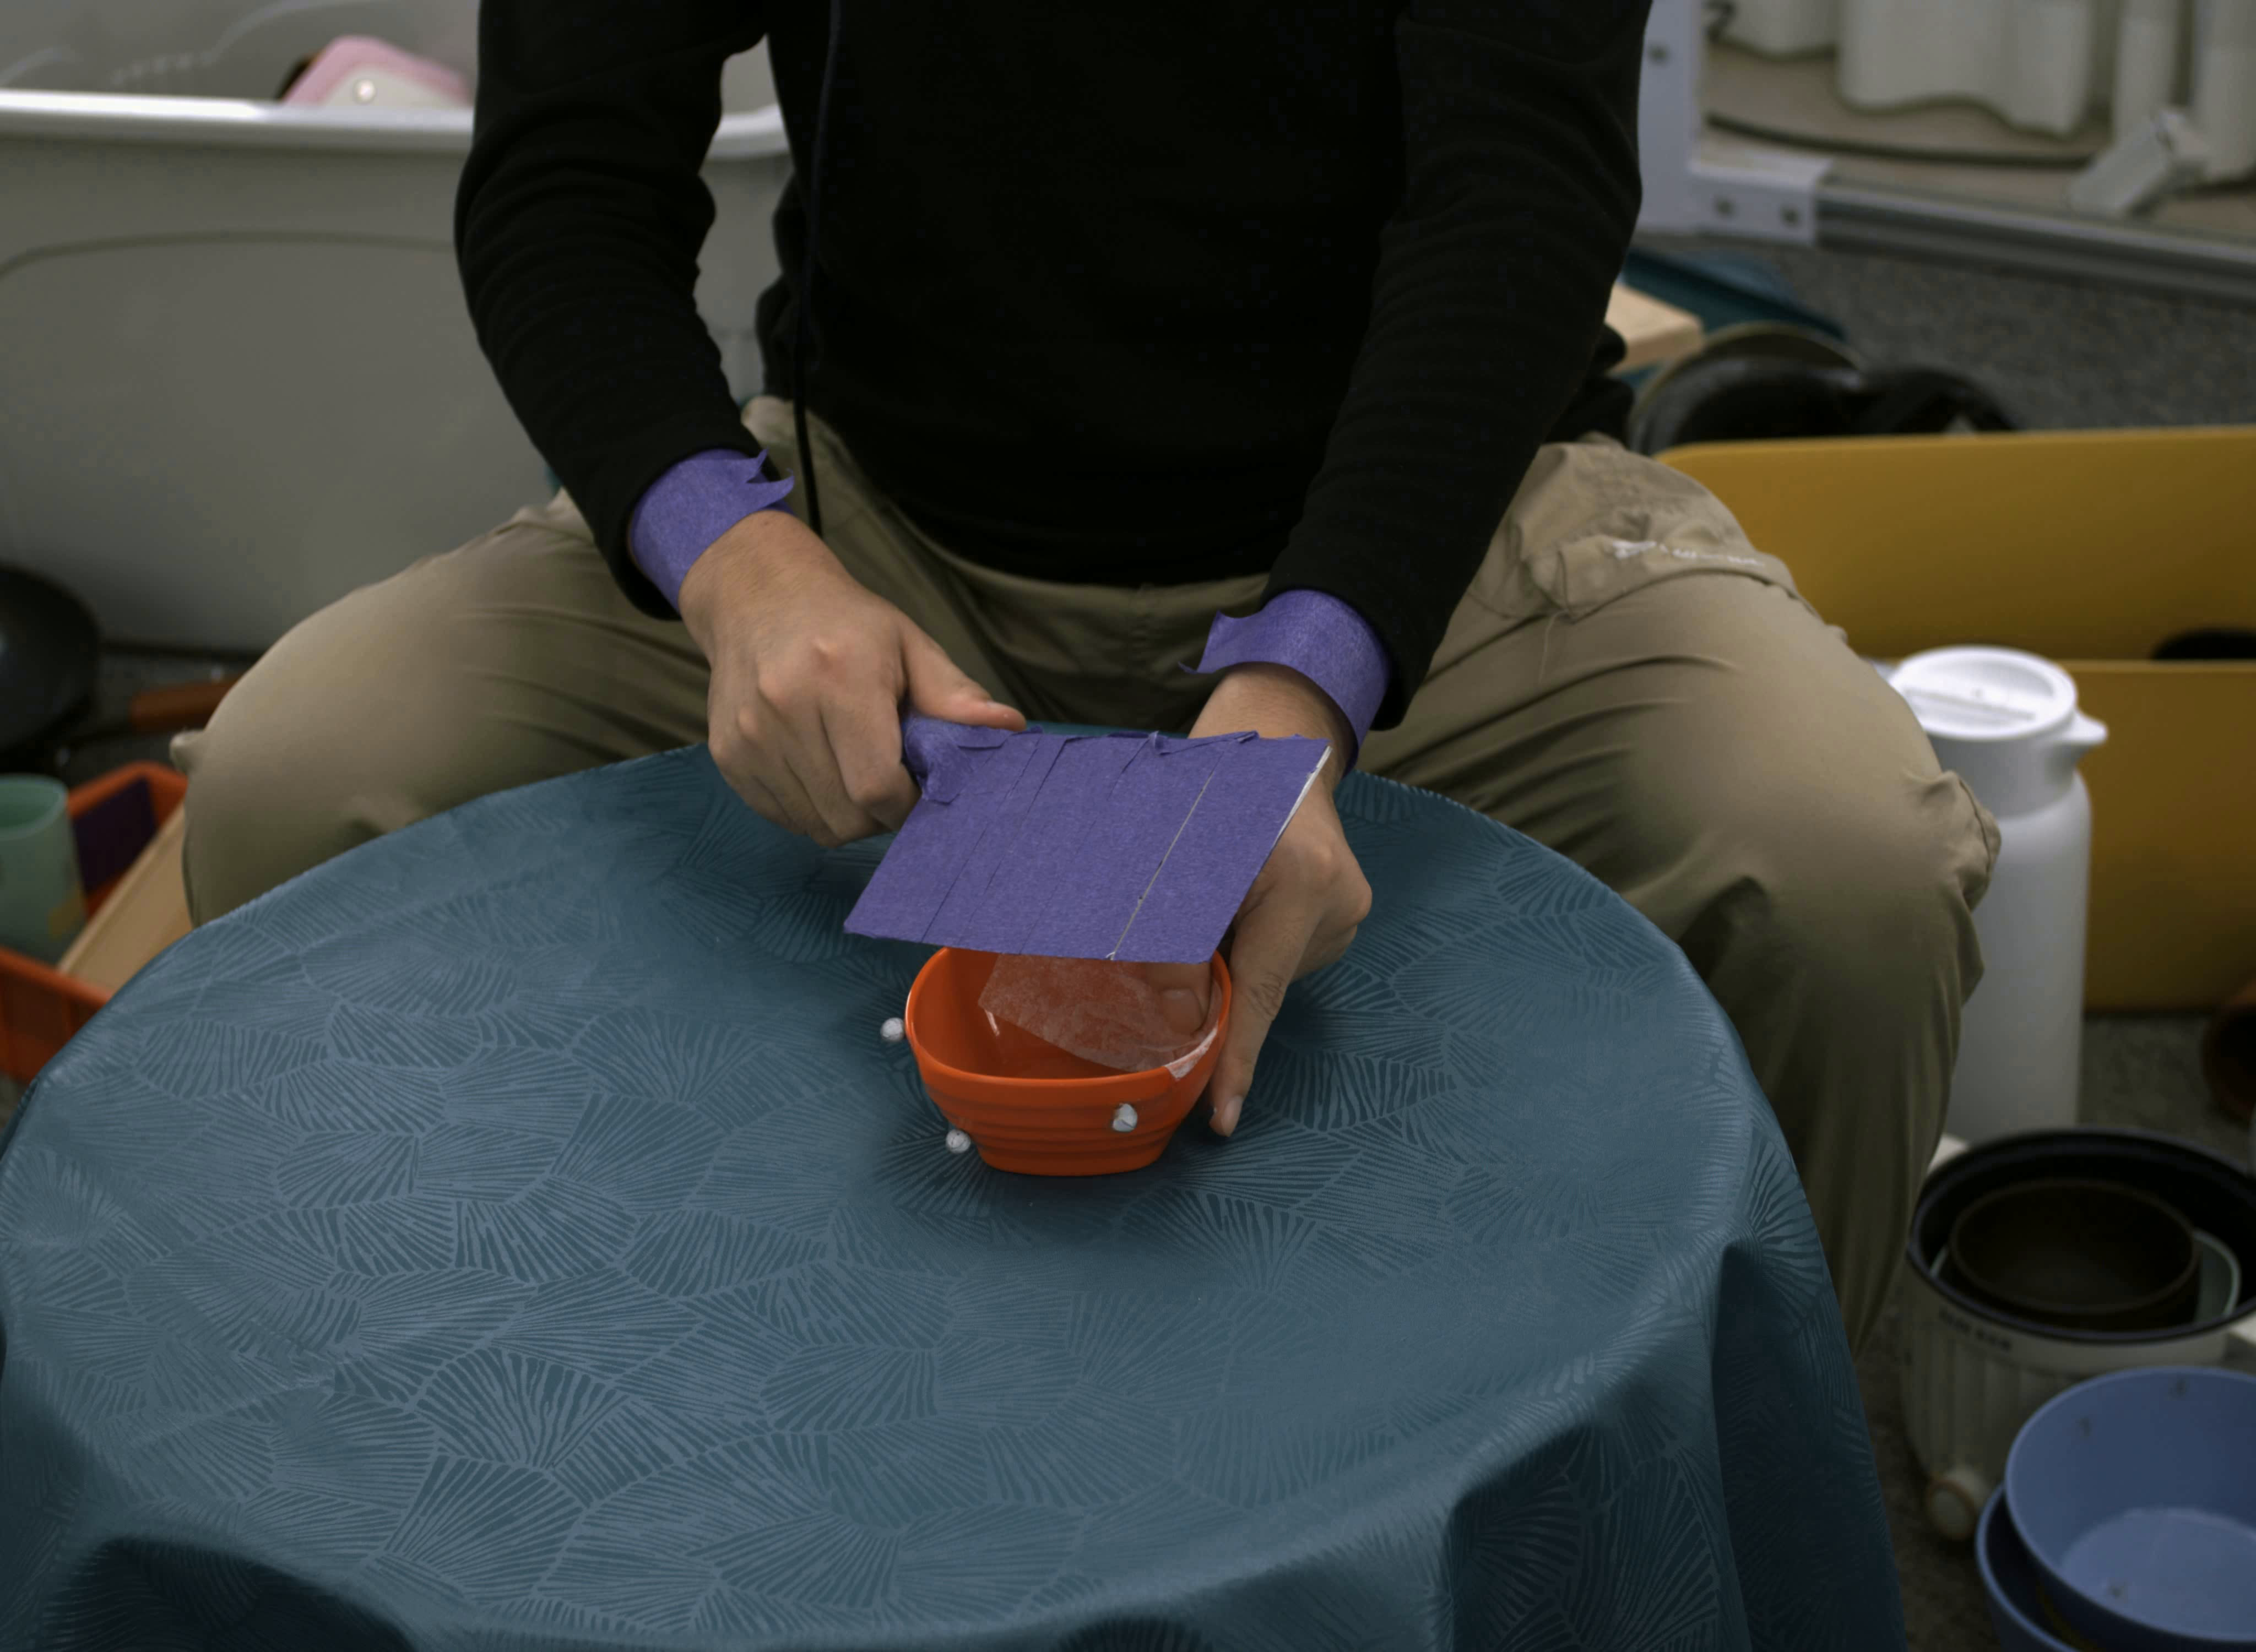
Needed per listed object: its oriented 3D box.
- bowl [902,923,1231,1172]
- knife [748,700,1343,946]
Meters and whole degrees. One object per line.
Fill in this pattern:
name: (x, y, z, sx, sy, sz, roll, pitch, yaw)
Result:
bowl: (-0.019, 0.077, 1.886, 0.118, 0.051, 0.121, -2, 29, 2)
knife: (-0.049, -0.001, 1.940, 0.312, 0.032, 0.105, -1, 51, 53)
